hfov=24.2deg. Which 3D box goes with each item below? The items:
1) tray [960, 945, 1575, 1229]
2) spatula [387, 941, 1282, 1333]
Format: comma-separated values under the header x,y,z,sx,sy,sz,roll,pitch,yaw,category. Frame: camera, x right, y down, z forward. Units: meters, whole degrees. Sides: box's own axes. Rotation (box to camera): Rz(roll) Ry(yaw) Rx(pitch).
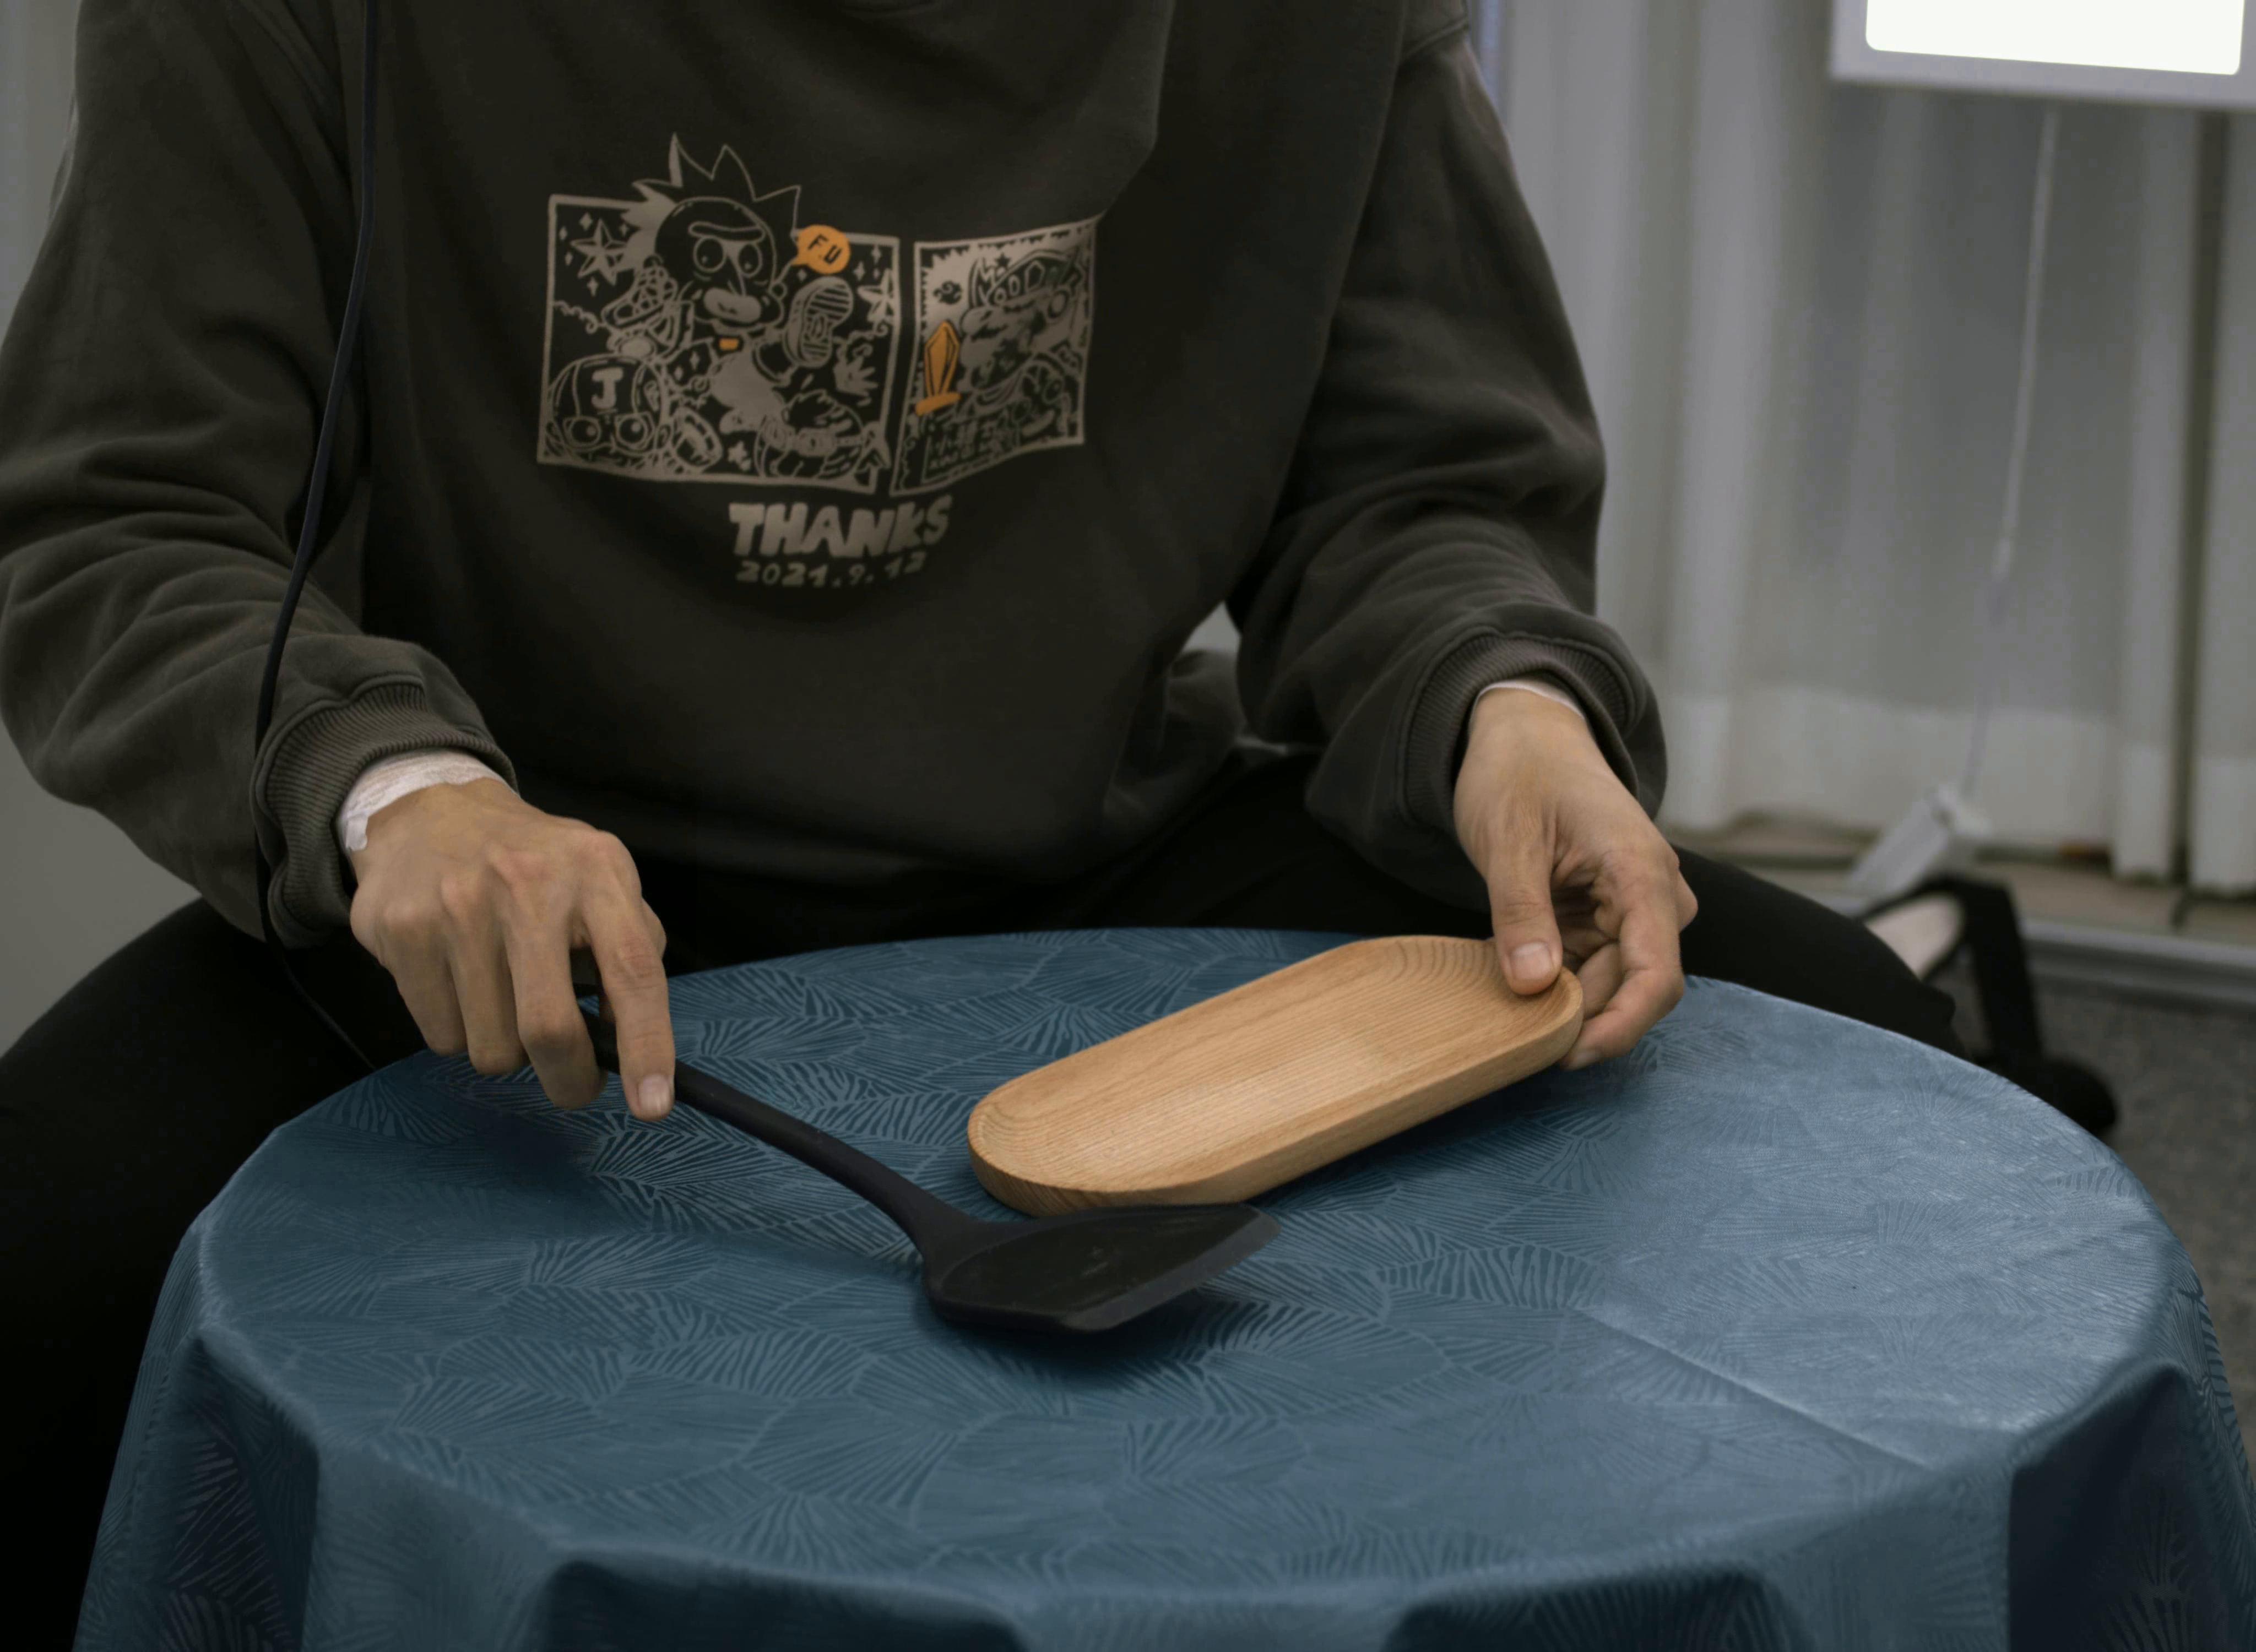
x,y,z,sx,sy,sz,roll,pitch,yaw,category
0.047,0.082,1.676,0.232,0.020,0.100,-22,26,-38,tray
-0.106,0.086,1.588,0.322,0.041,0.100,26,28,30,spatula
